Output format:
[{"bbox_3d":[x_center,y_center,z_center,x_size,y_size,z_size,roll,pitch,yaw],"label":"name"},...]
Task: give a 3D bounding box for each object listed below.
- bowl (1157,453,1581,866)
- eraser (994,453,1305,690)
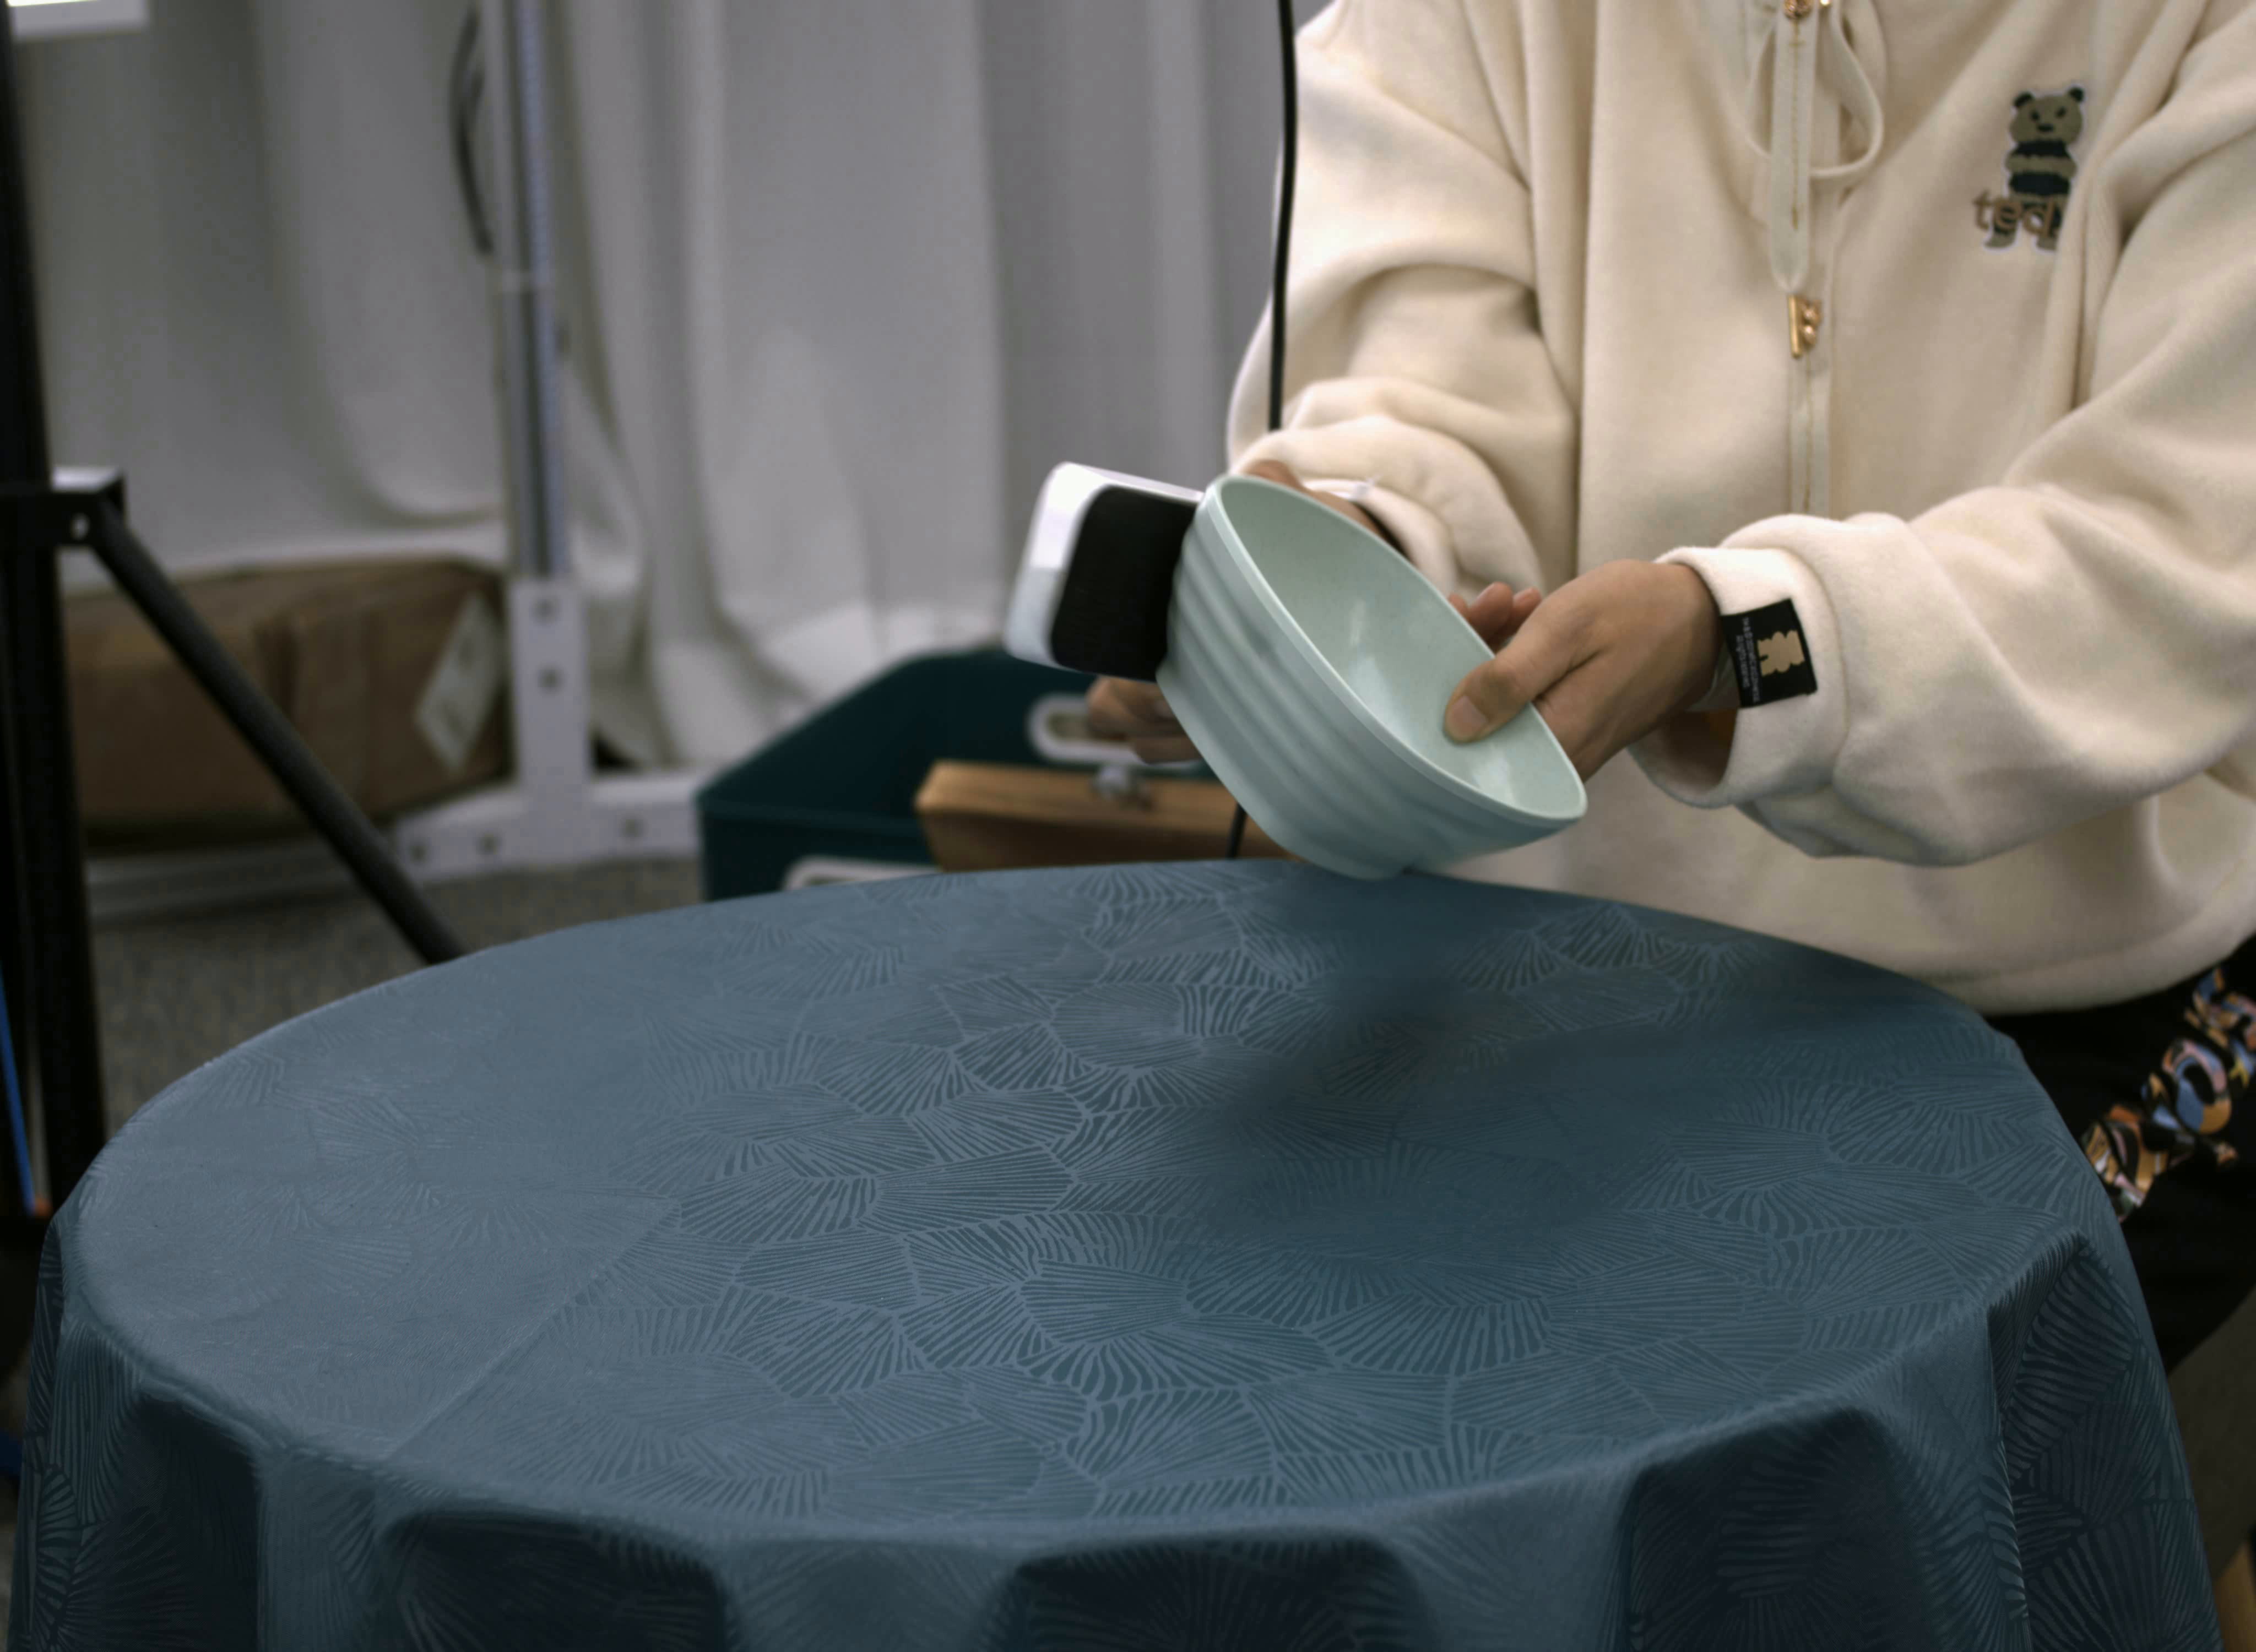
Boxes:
[{"bbox_3d":[0.063,-0.039,1.592,0.059,0.151,0.150,-44,-1,23],"label":"bowl"},{"bbox_3d":[0.006,-0.075,1.611,0.035,0.063,0.128,21,6,31],"label":"eraser"}]
